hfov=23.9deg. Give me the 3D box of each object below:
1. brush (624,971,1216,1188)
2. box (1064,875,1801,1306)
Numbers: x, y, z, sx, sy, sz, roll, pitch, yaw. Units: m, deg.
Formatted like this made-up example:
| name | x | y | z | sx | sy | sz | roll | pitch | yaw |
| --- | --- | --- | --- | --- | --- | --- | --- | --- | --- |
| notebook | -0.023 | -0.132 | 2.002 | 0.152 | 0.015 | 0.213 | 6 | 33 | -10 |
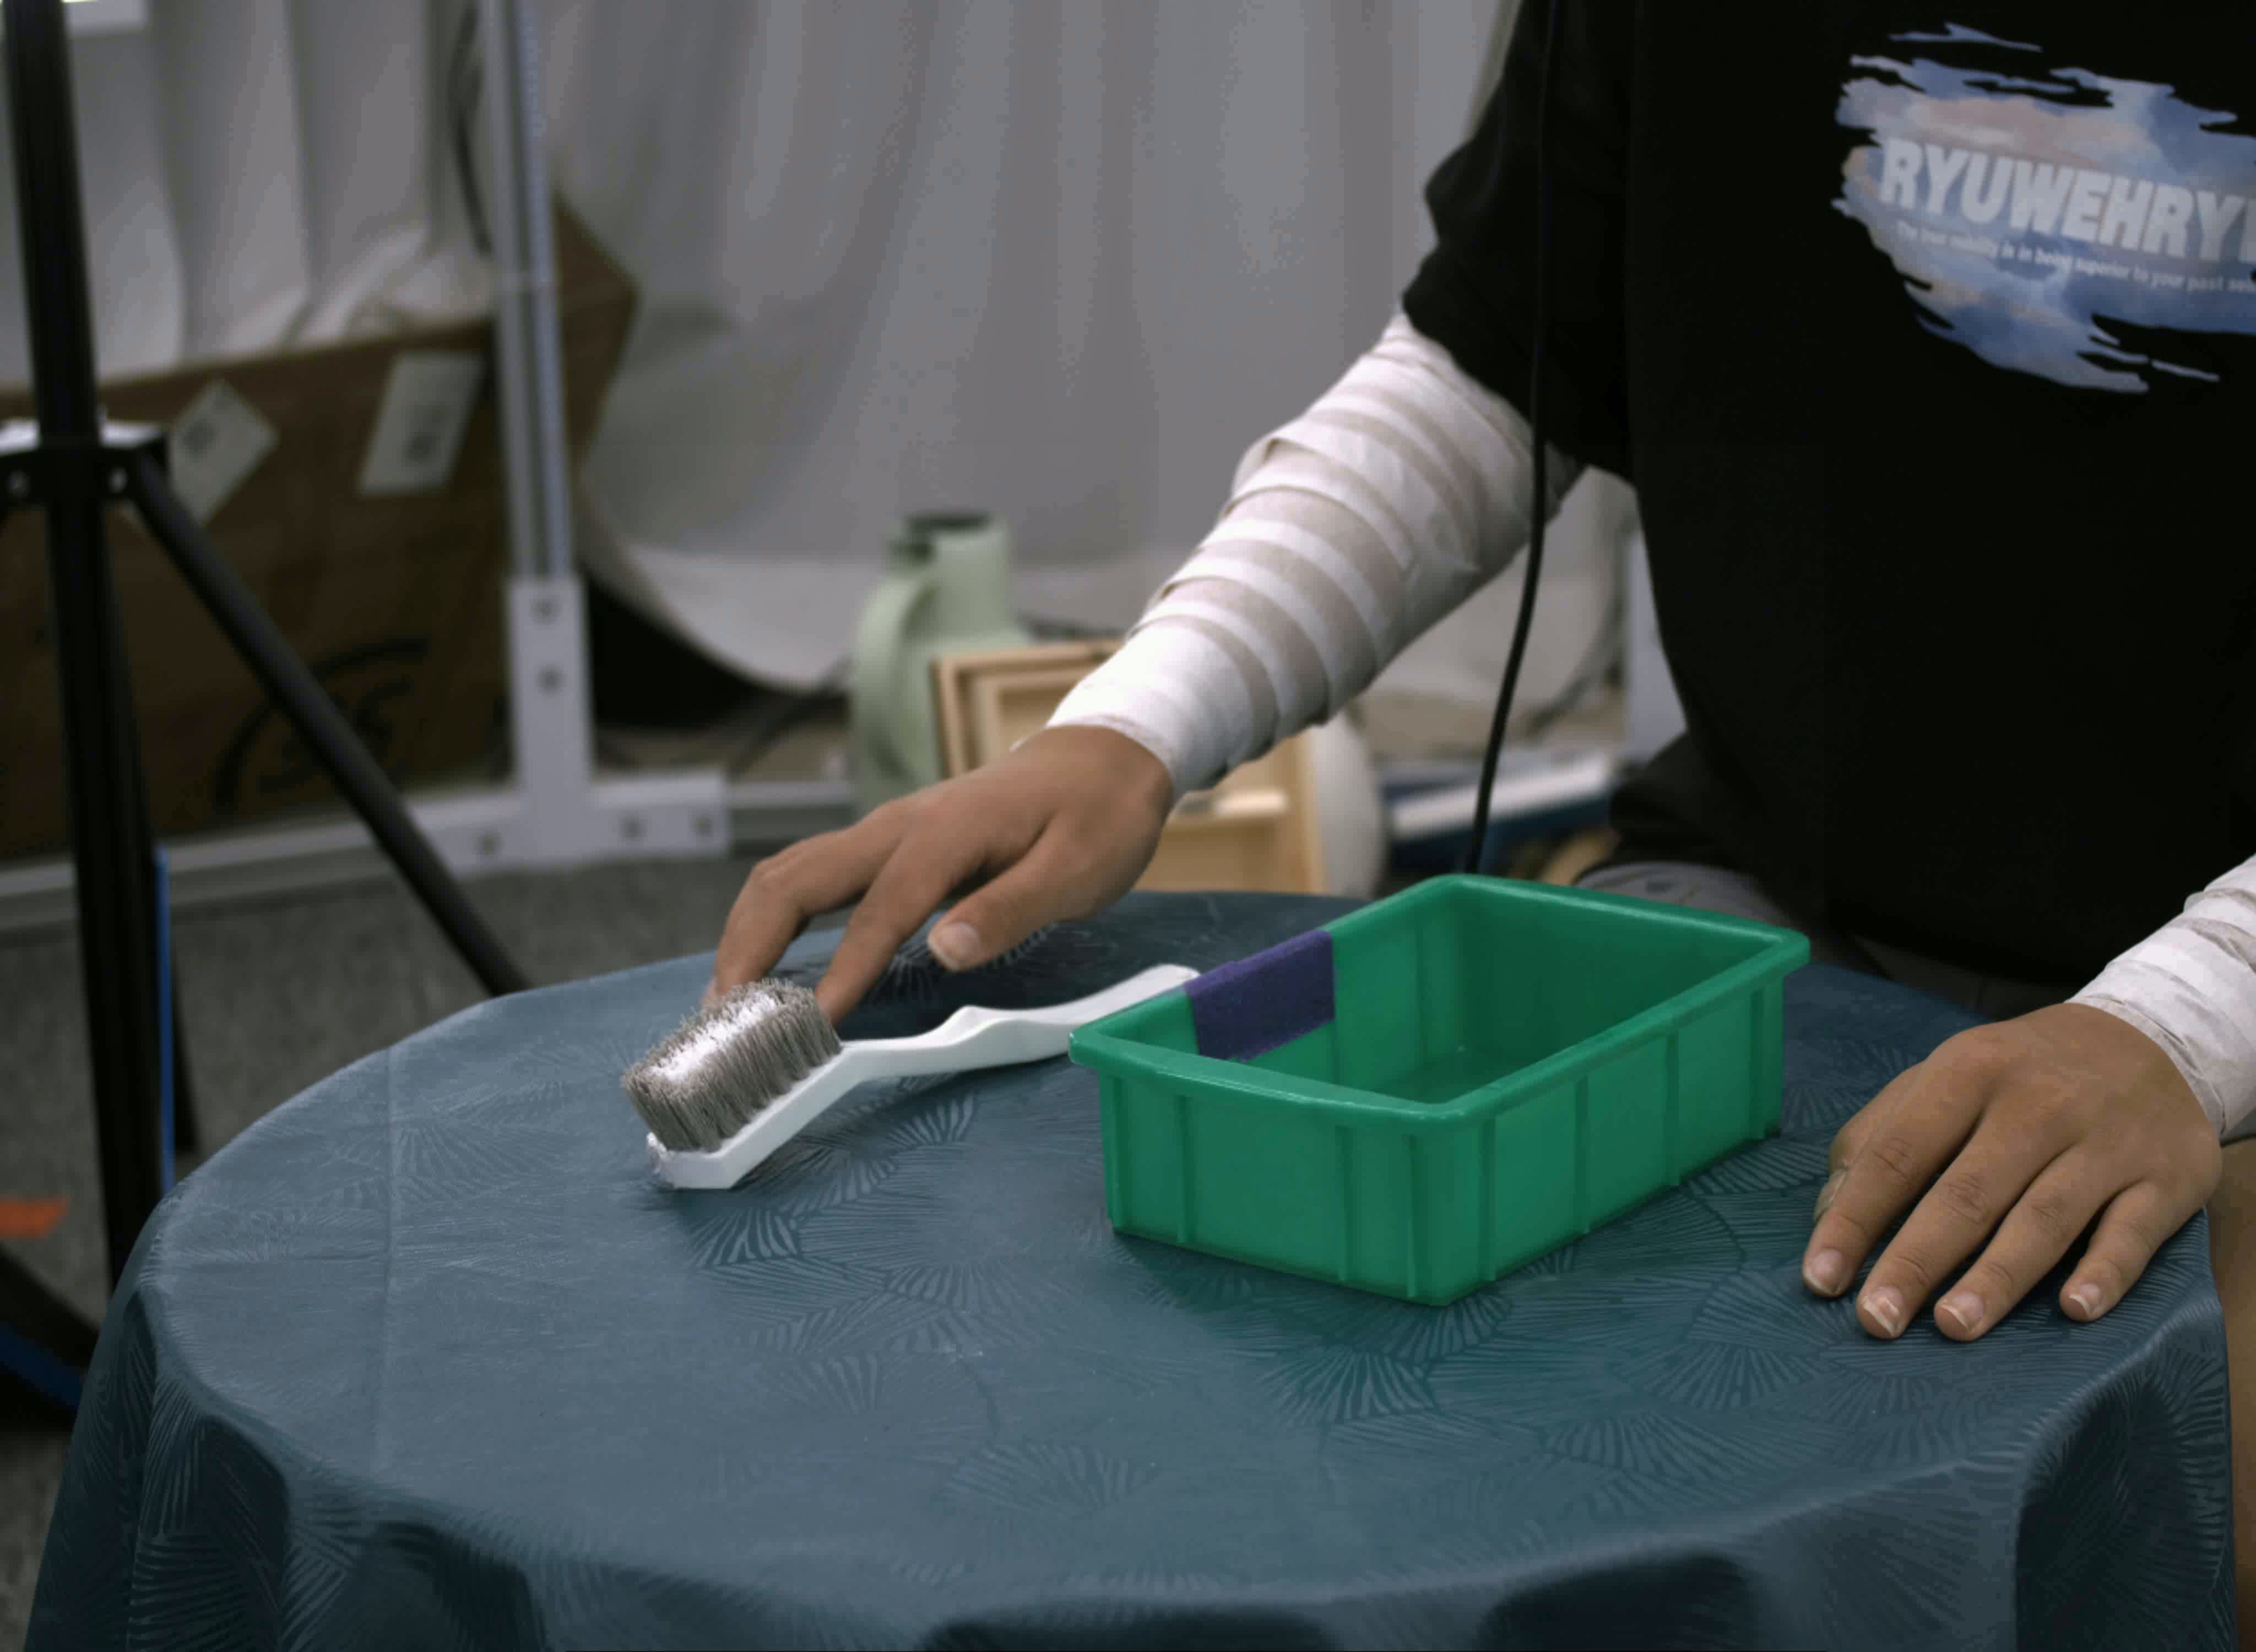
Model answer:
| name | x | y | z | sx | sy | sz | roll | pitch | yaw |
| --- | --- | --- | --- | --- | --- | --- | --- | --- | --- |
| brush | -0.058 | 0.059 | 1.653 | 0.035 | 0.050 | 0.238 | 10 | 20 | 44 |
| box | 0.093 | 0.075 | 1.545 | 0.141 | 0.065 | 0.206 | 6 | 19 | 37 |
